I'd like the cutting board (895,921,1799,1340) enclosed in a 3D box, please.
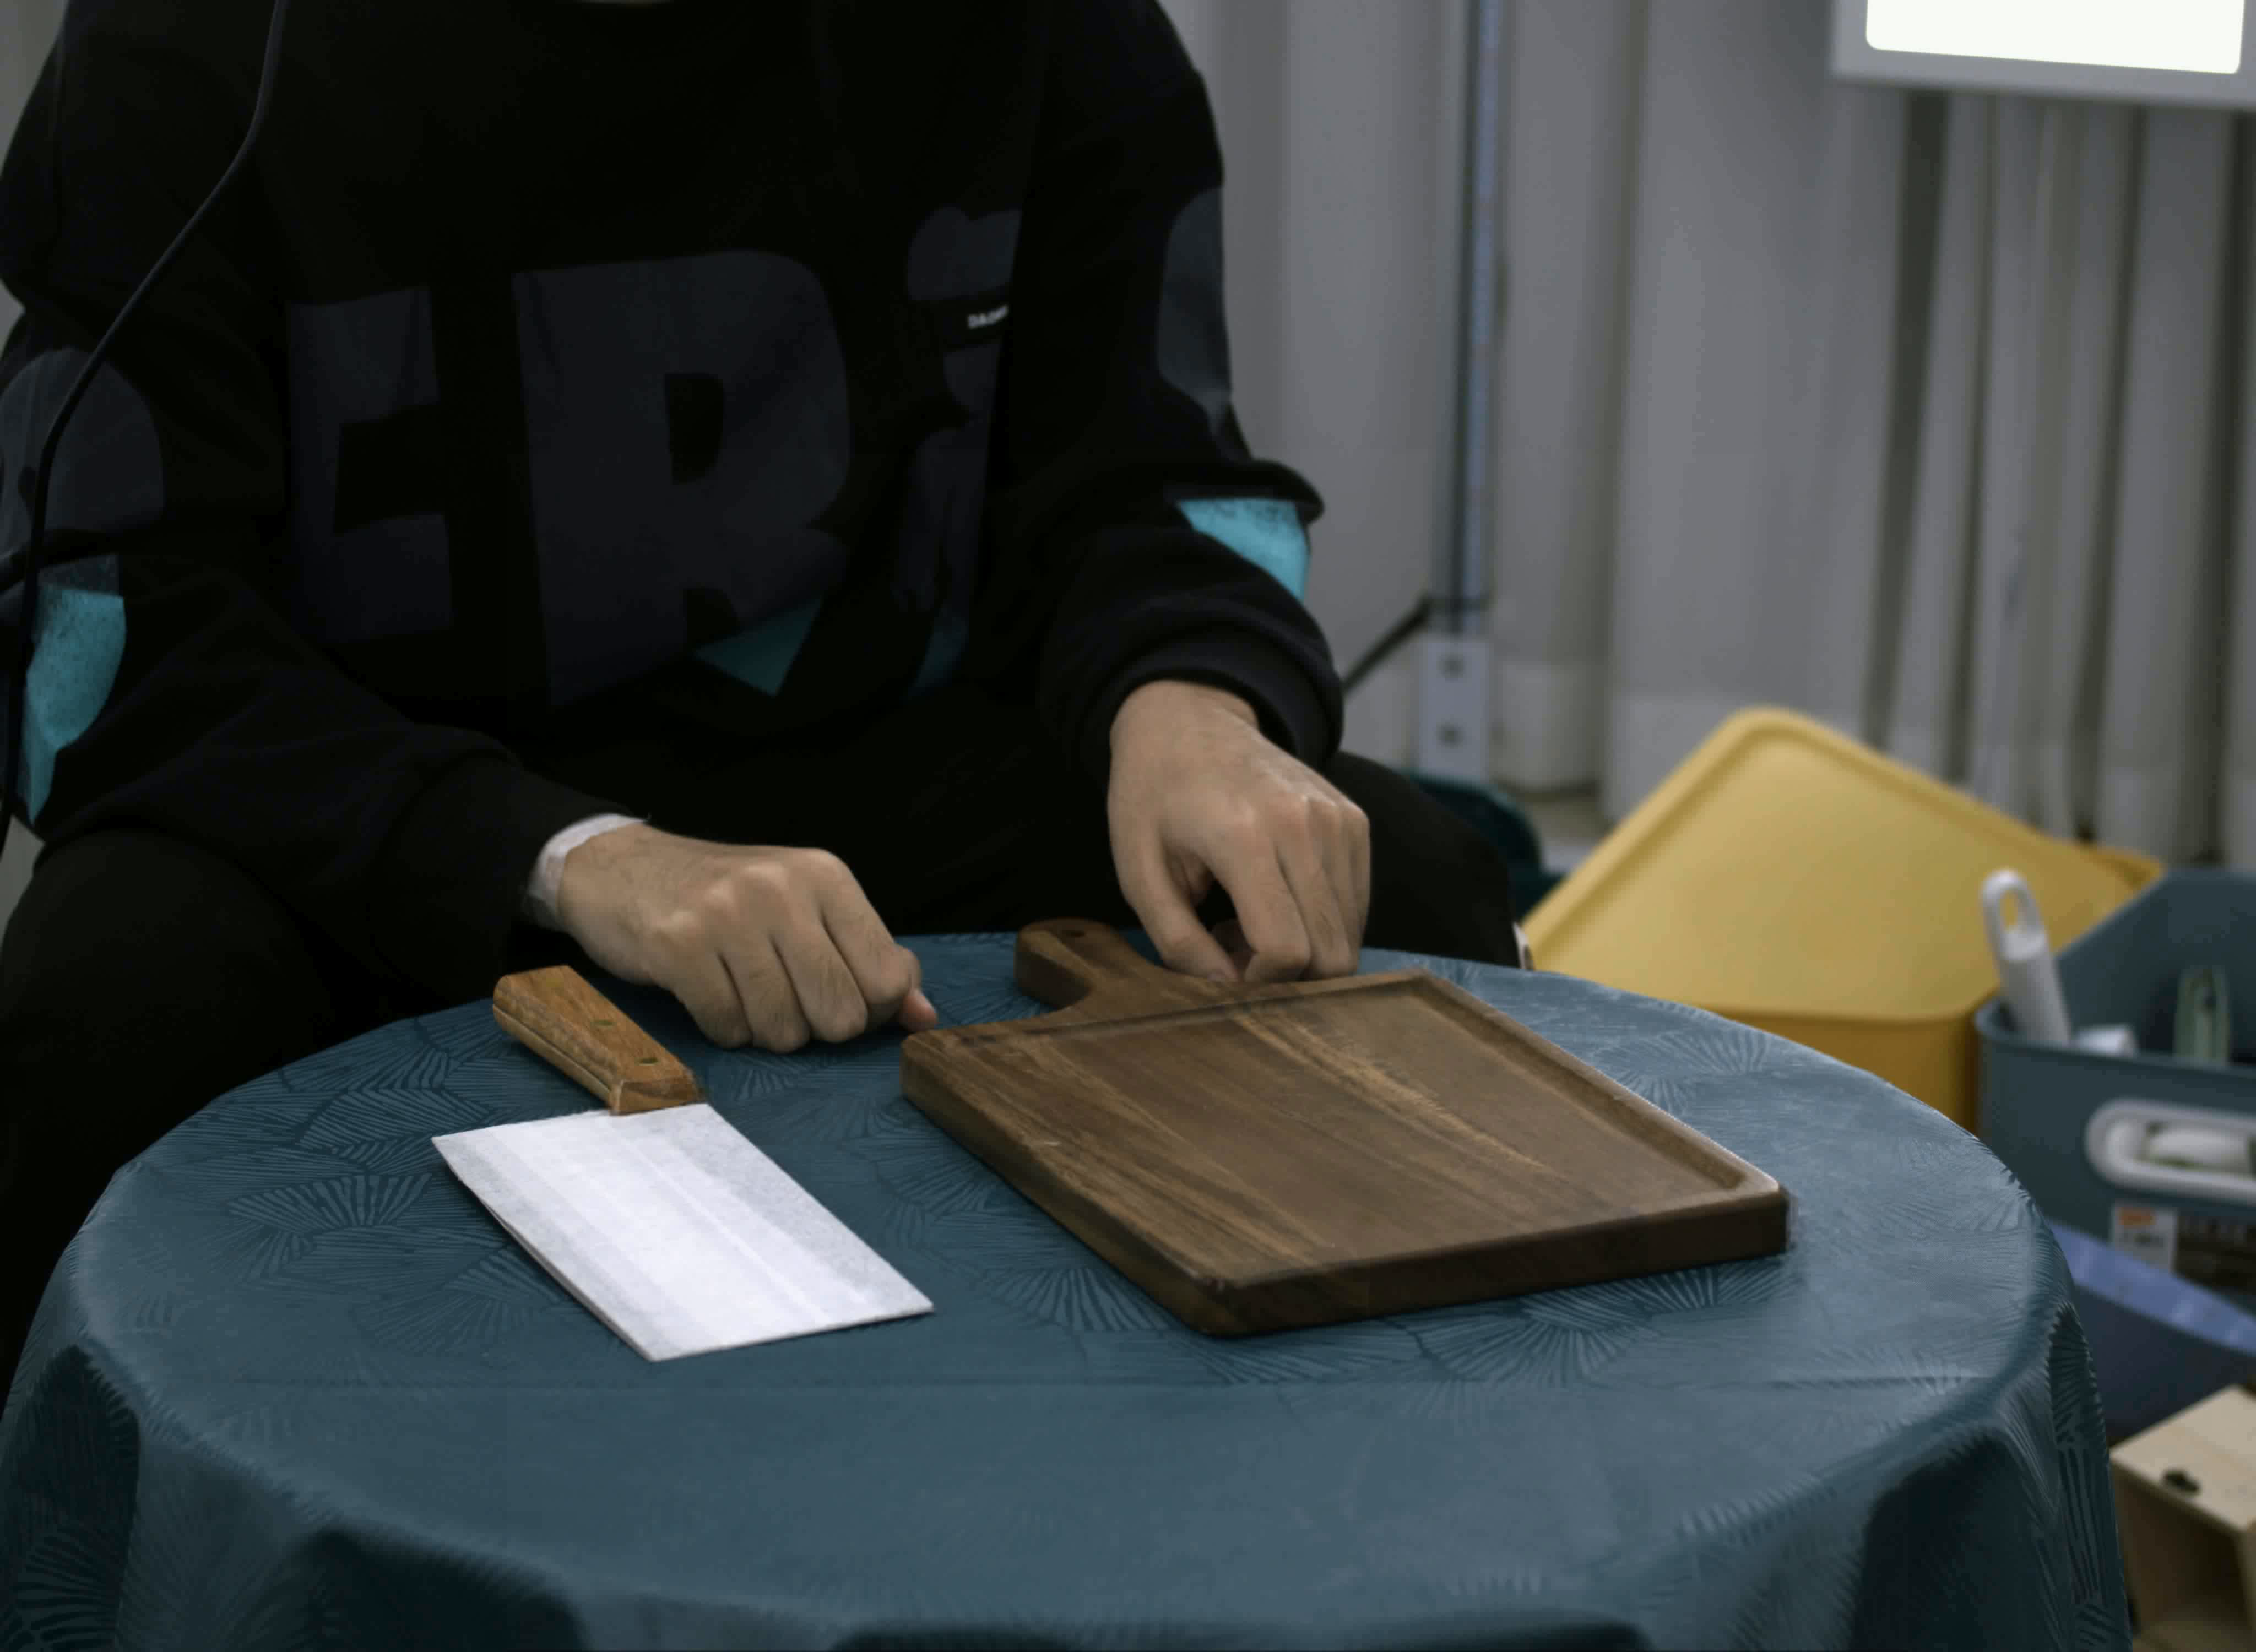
[{"bbox_3d":[0.043,0.085,1.683,0.202,0.023,0.348,-7,17,-23],"label":"cutting board"}]

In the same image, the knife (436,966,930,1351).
[{"bbox_3d":[-0.160,0.102,1.627,0.093,0.021,0.302,-9,20,-25],"label":"knife"}]
